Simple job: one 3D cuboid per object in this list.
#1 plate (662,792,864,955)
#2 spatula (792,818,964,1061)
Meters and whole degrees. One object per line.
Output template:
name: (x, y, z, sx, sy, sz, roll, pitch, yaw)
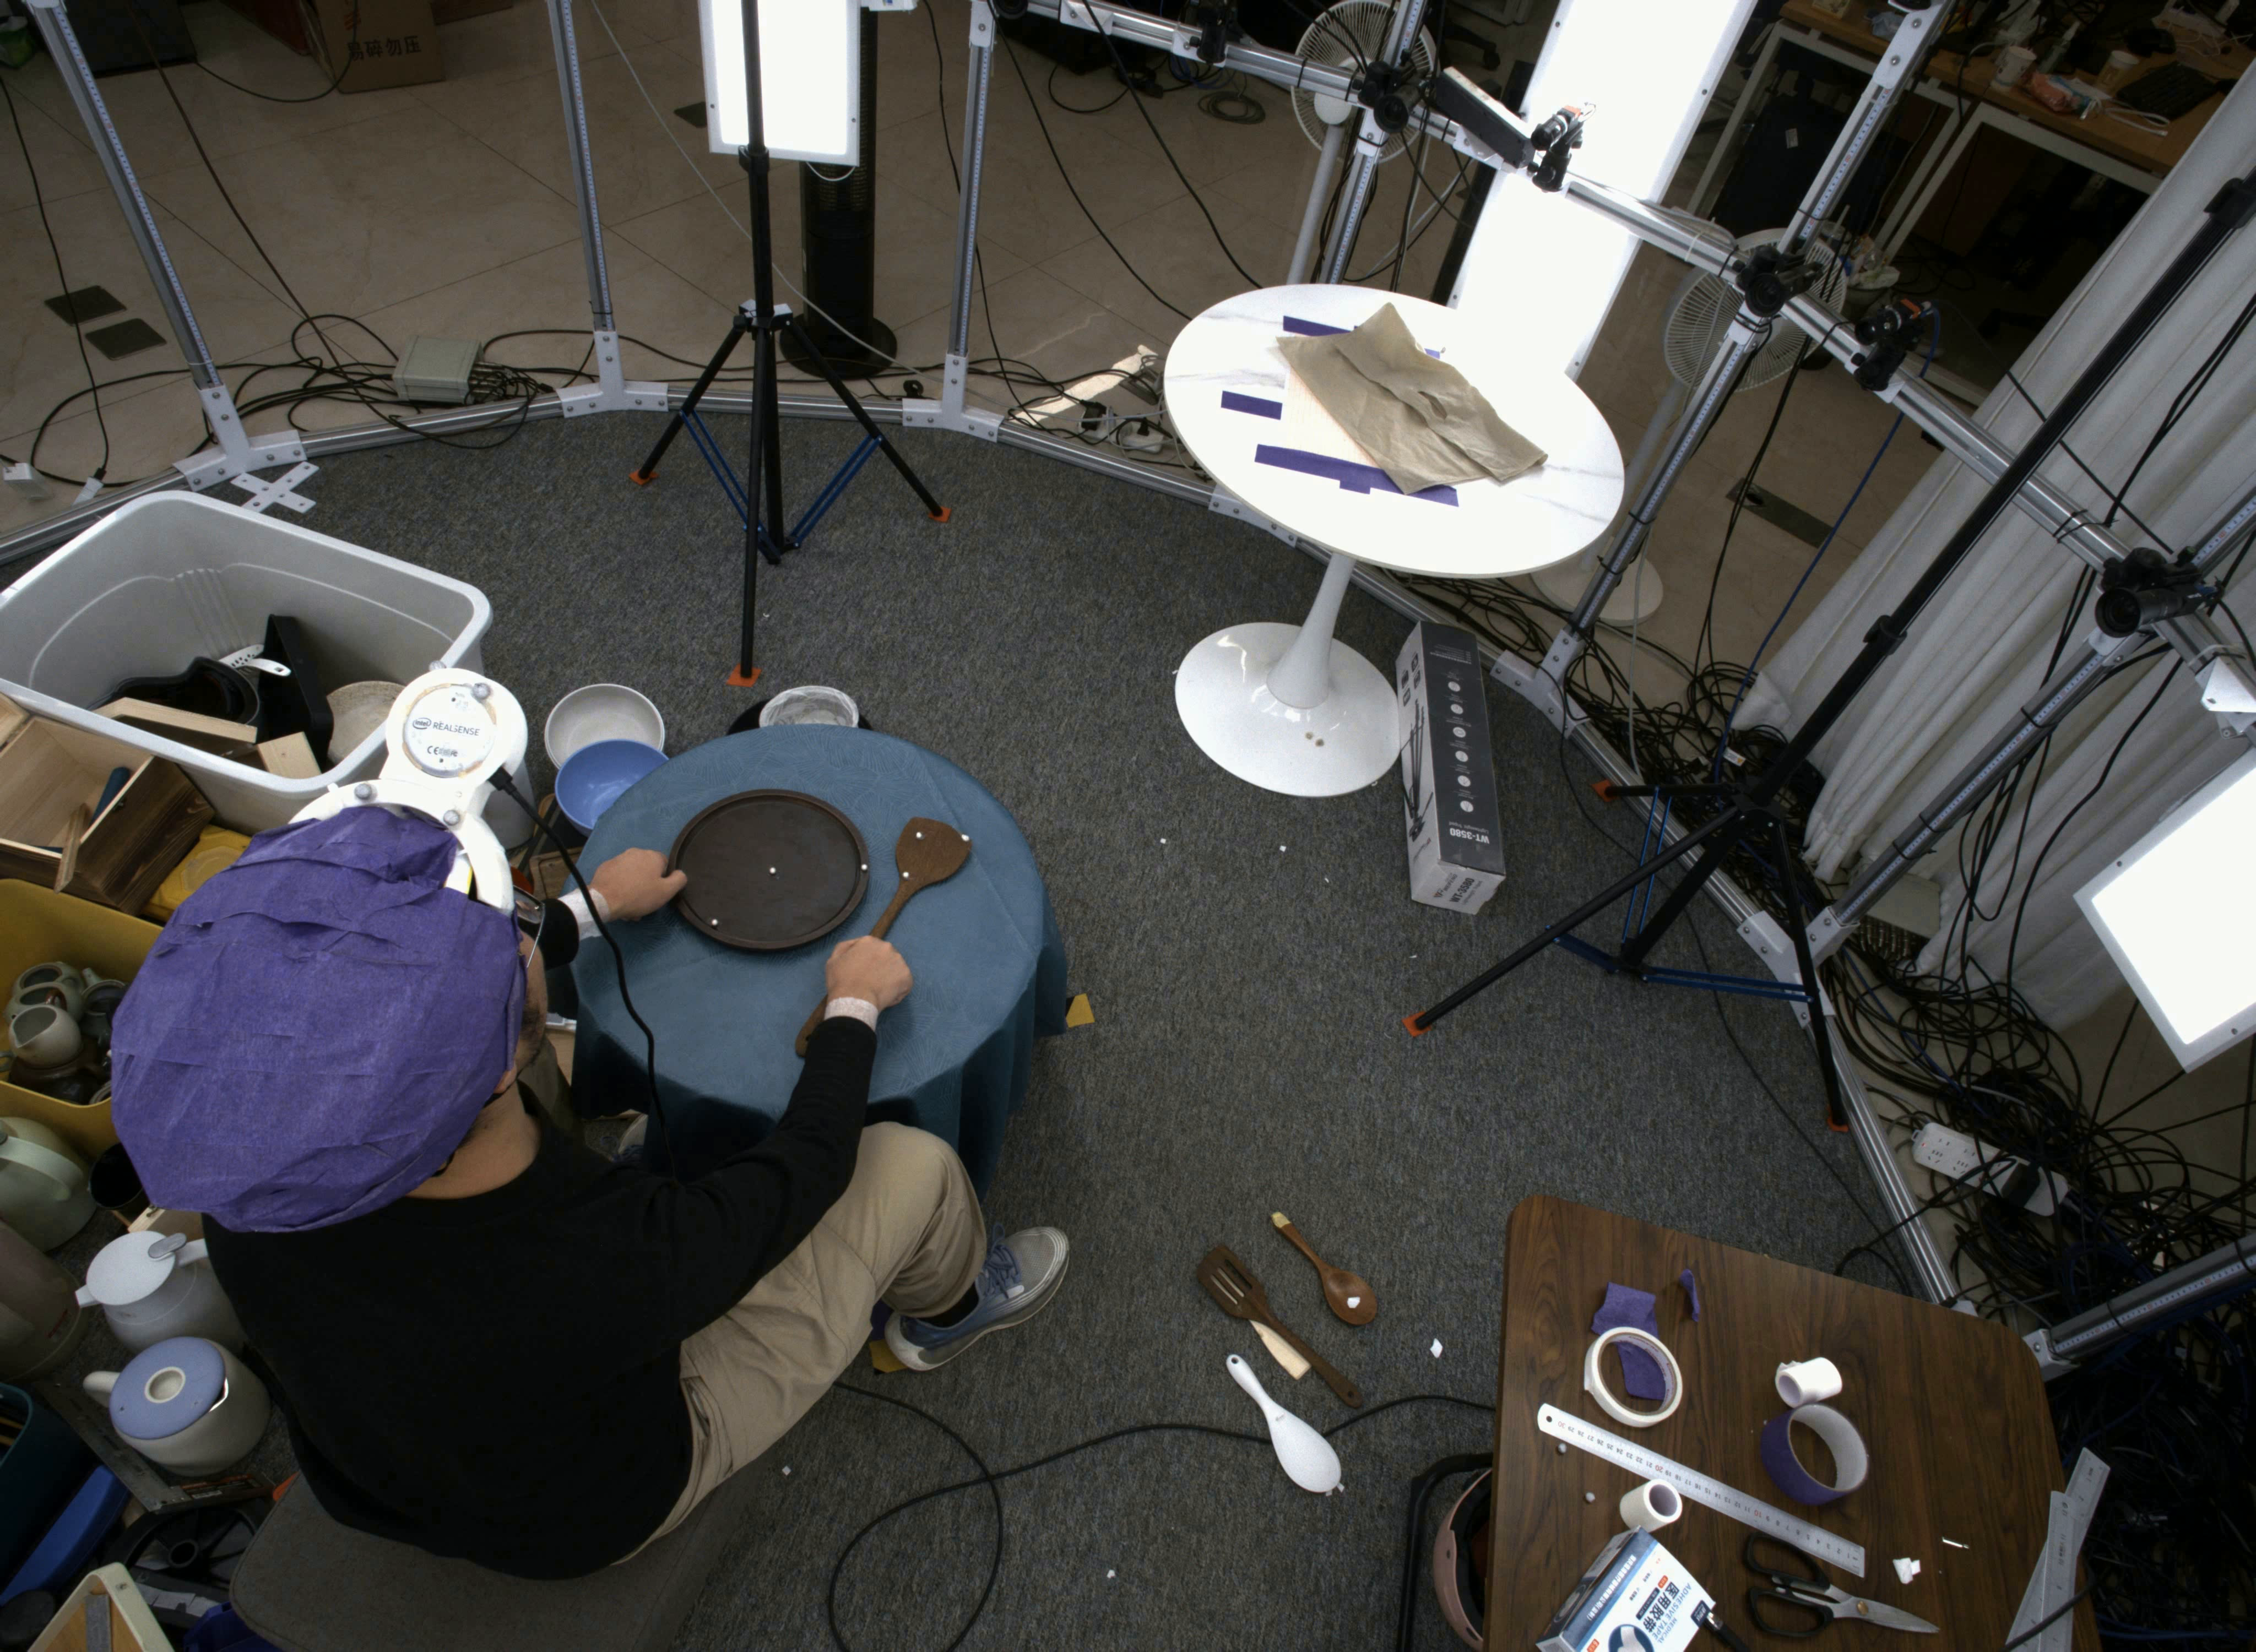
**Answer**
plate: (-0.465, 0.056, 1.651, 0.254, 0.029, 0.250, 9, 51, -9)
spatula: (-0.321, 0.133, 1.637, 0.095, 0.016, 0.383, 23, 52, 4)
